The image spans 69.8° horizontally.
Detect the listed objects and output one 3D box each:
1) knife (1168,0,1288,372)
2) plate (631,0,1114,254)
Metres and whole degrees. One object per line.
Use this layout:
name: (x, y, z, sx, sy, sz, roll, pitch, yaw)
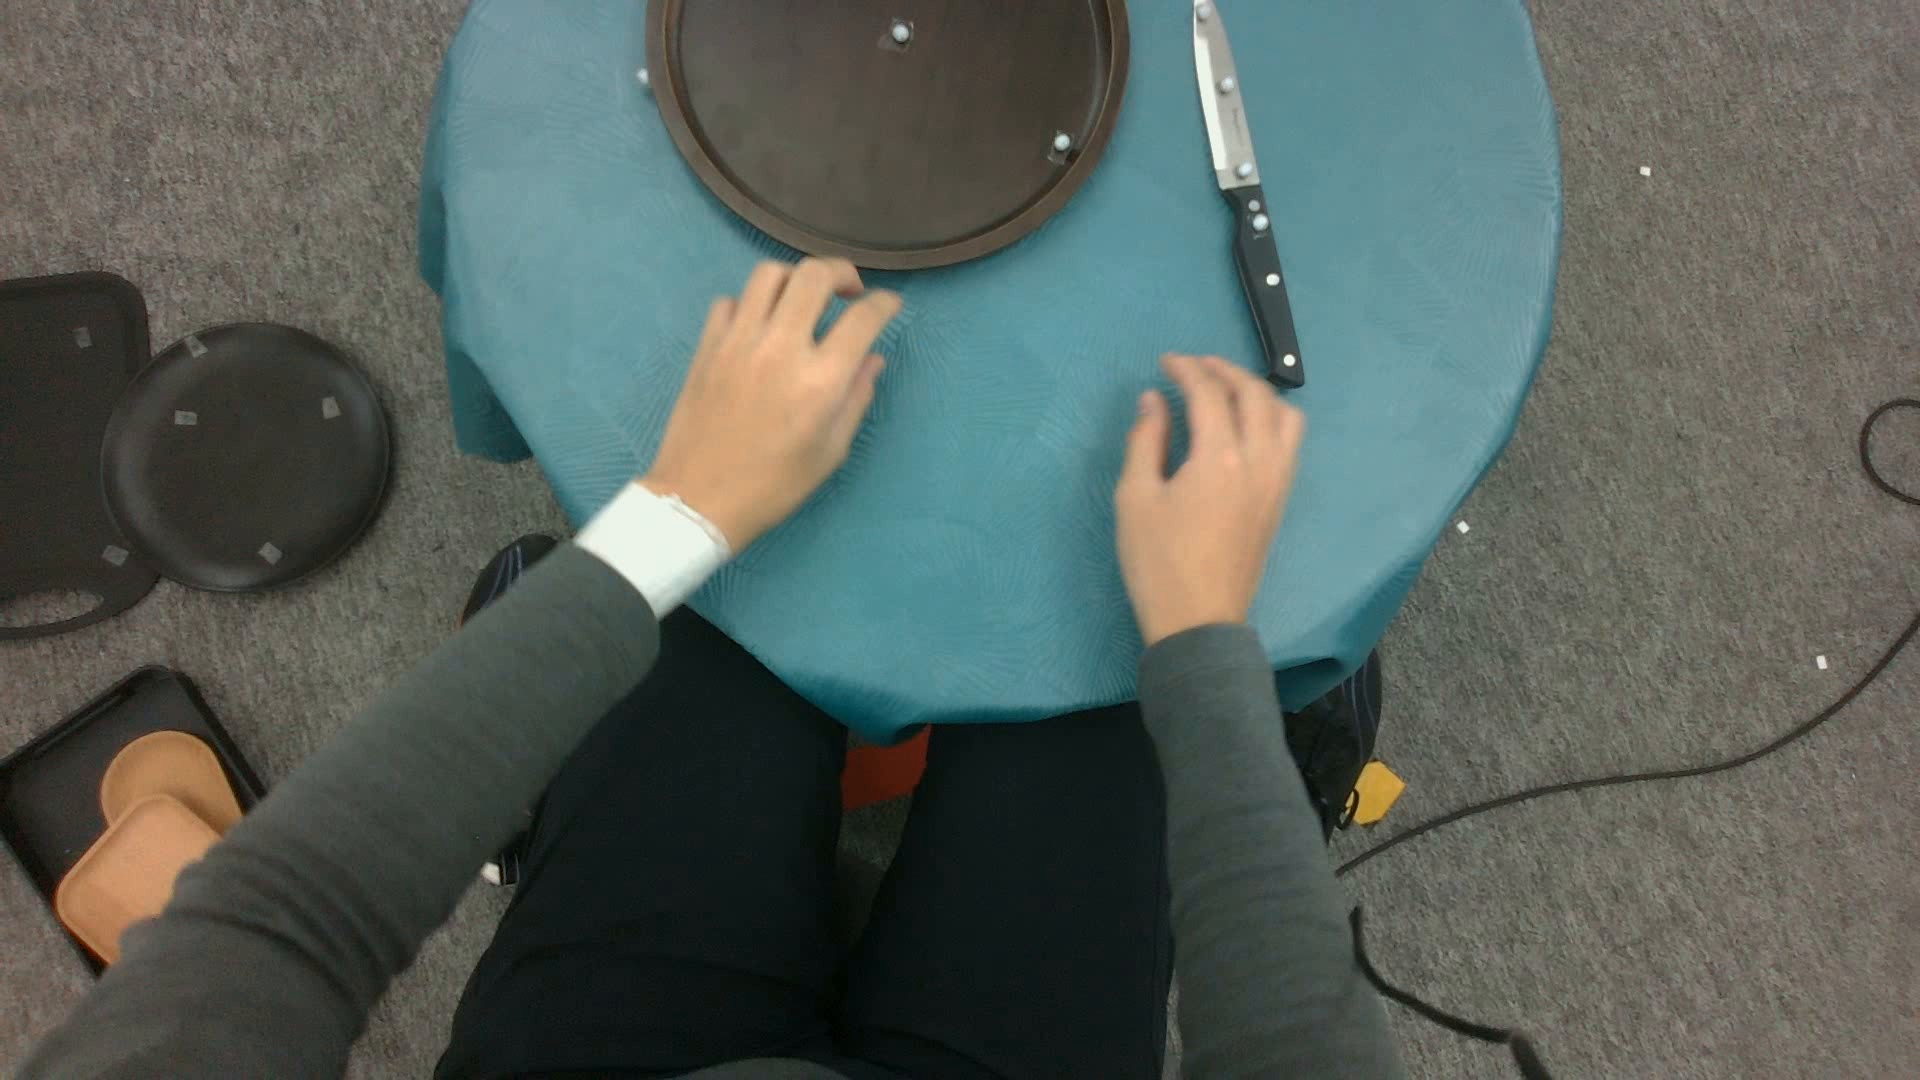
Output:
knife: (0.142, -0.204, 0.740, 0.024, 0.016, 0.238, -10, 79, -8)
plate: (-0.045, -0.270, 0.728, 0.255, 0.029, 0.255, 1, 80, -5)
